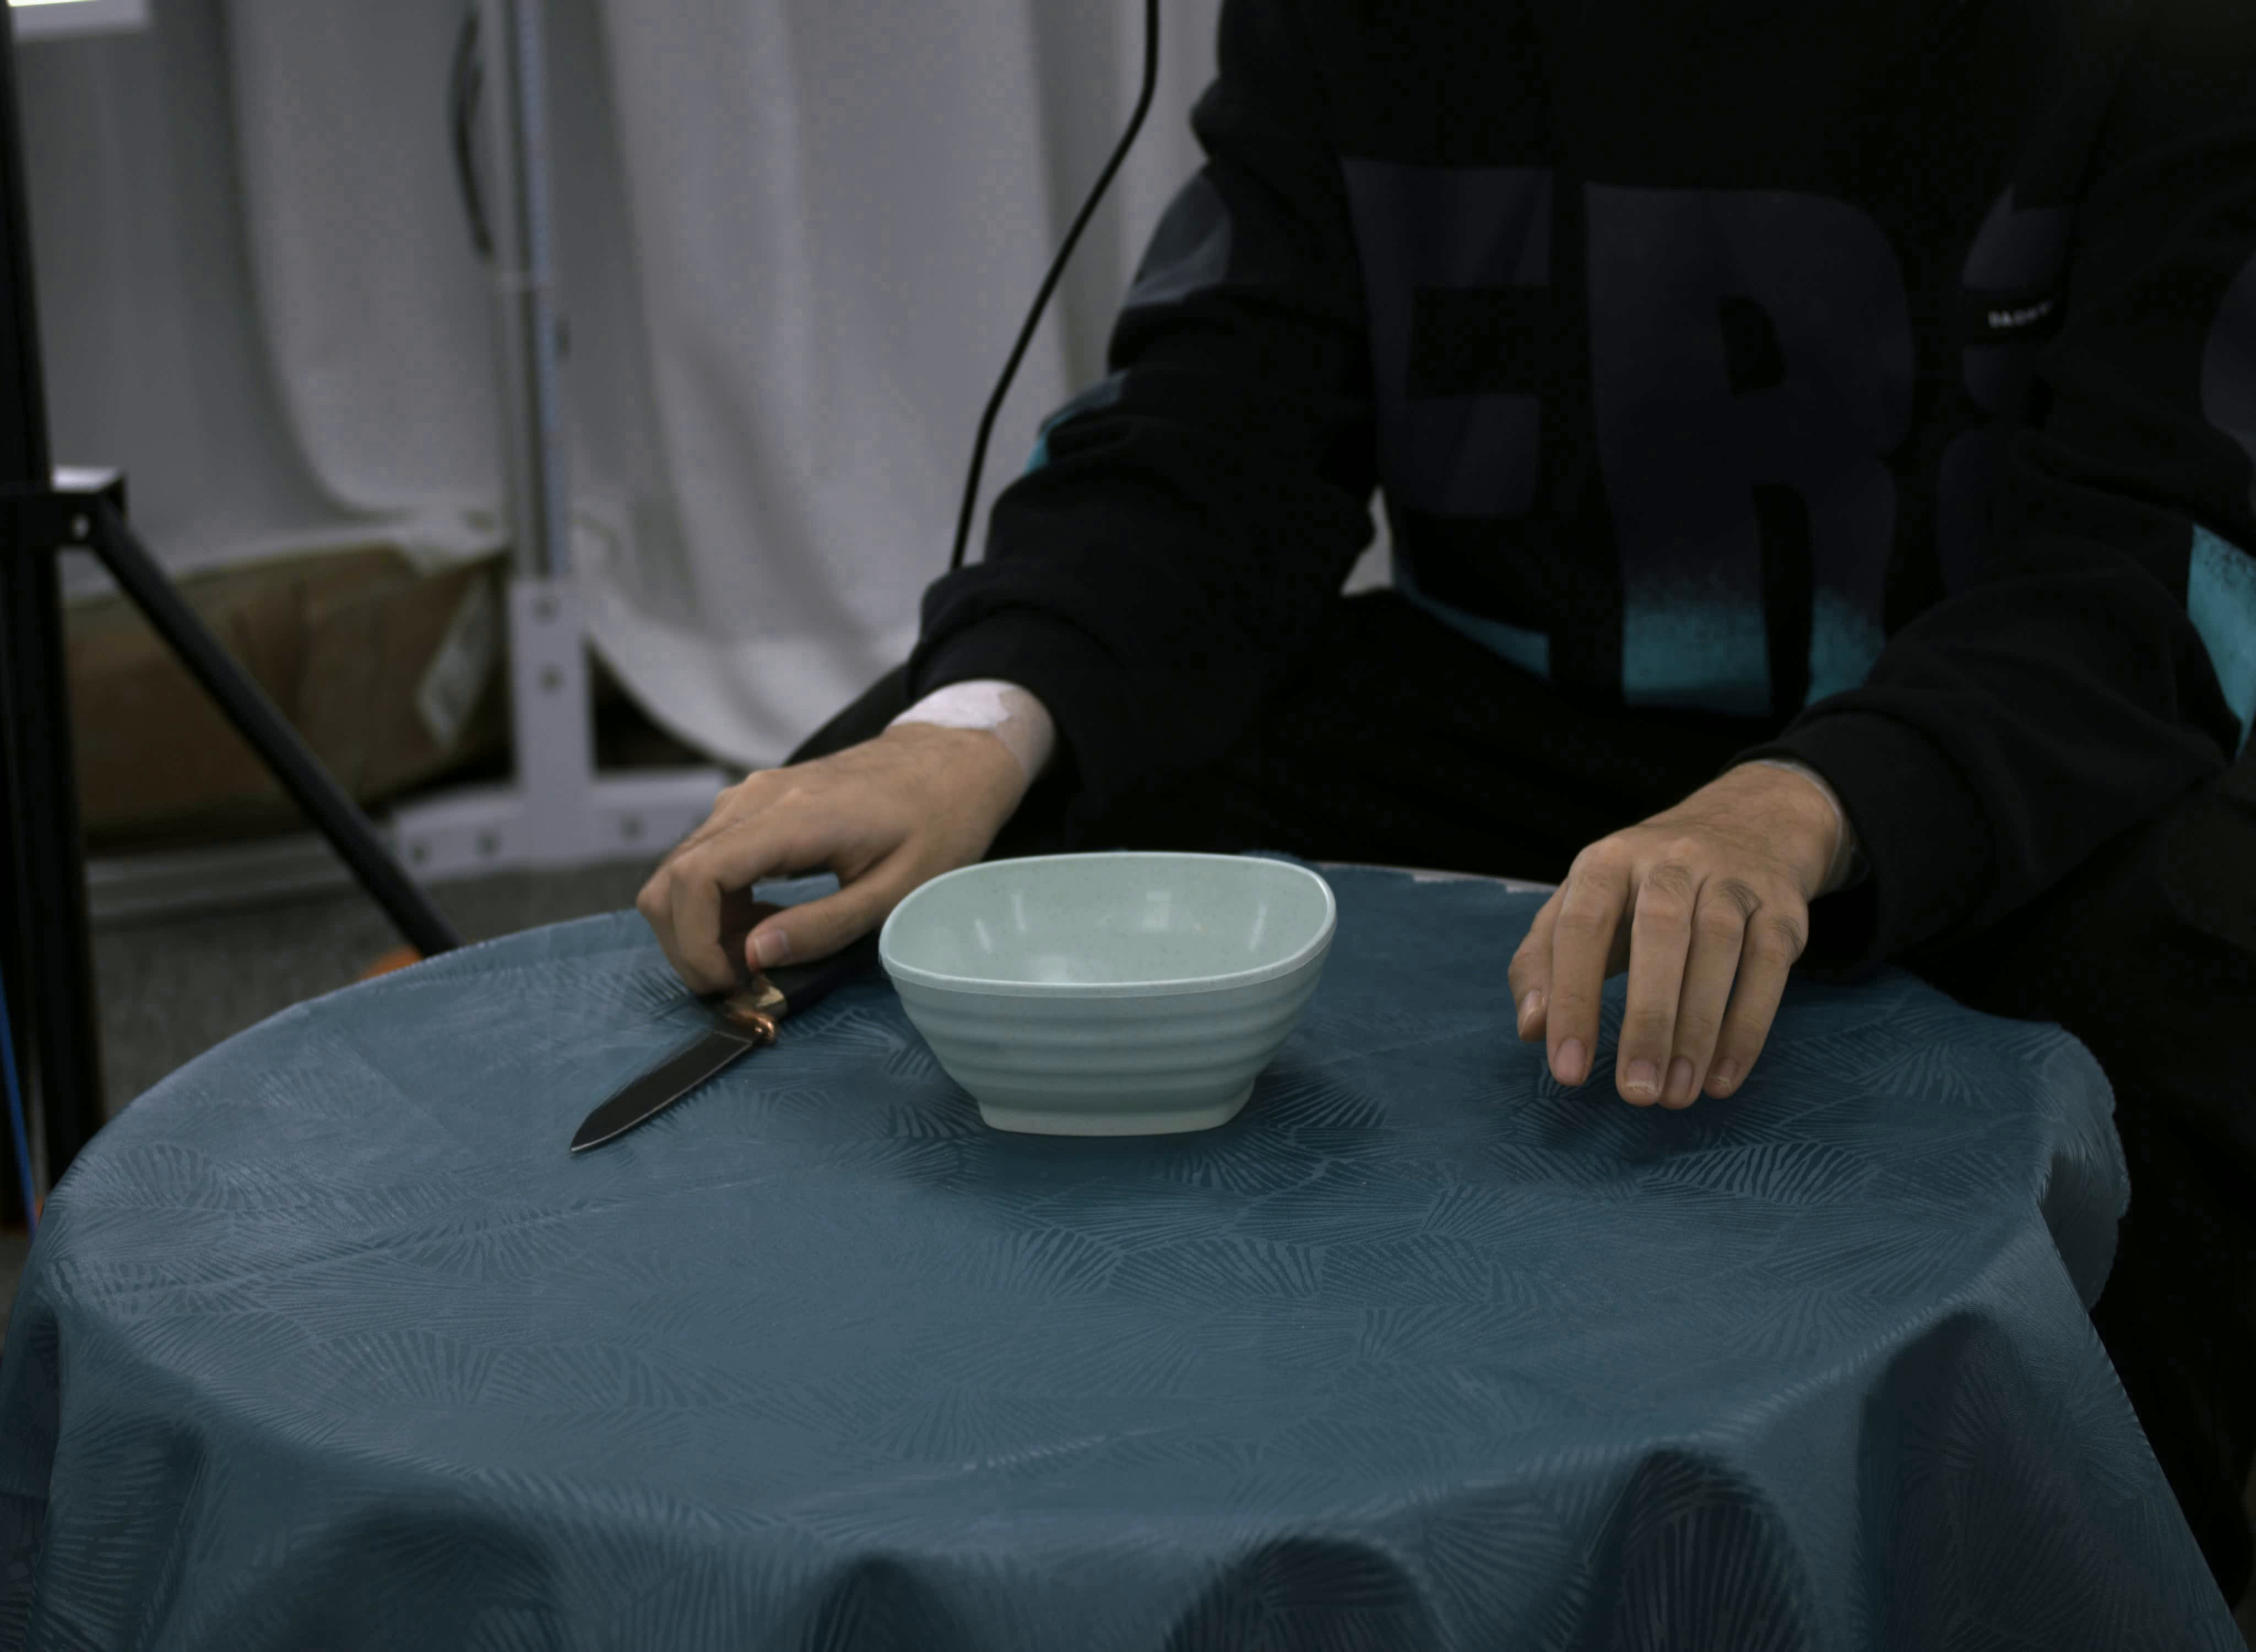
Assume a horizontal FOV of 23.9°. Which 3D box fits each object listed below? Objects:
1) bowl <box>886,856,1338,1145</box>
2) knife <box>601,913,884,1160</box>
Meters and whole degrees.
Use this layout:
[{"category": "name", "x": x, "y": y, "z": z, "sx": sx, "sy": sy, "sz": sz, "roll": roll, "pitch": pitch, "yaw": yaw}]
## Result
[{"category": "bowl", "x": -0.003, "y": 0.057, "z": 1.638, "sx": 0.151, "sy": 0.058, "sz": 0.152, "roll": -4, "pitch": 16, "yaw": 0}, {"category": "knife", "x": -0.125, "y": 0.066, "z": 1.707, "sx": 0.026, "sy": 0.017, "sz": 0.223, "roll": 14, "pitch": 21, "yaw": 16}]
